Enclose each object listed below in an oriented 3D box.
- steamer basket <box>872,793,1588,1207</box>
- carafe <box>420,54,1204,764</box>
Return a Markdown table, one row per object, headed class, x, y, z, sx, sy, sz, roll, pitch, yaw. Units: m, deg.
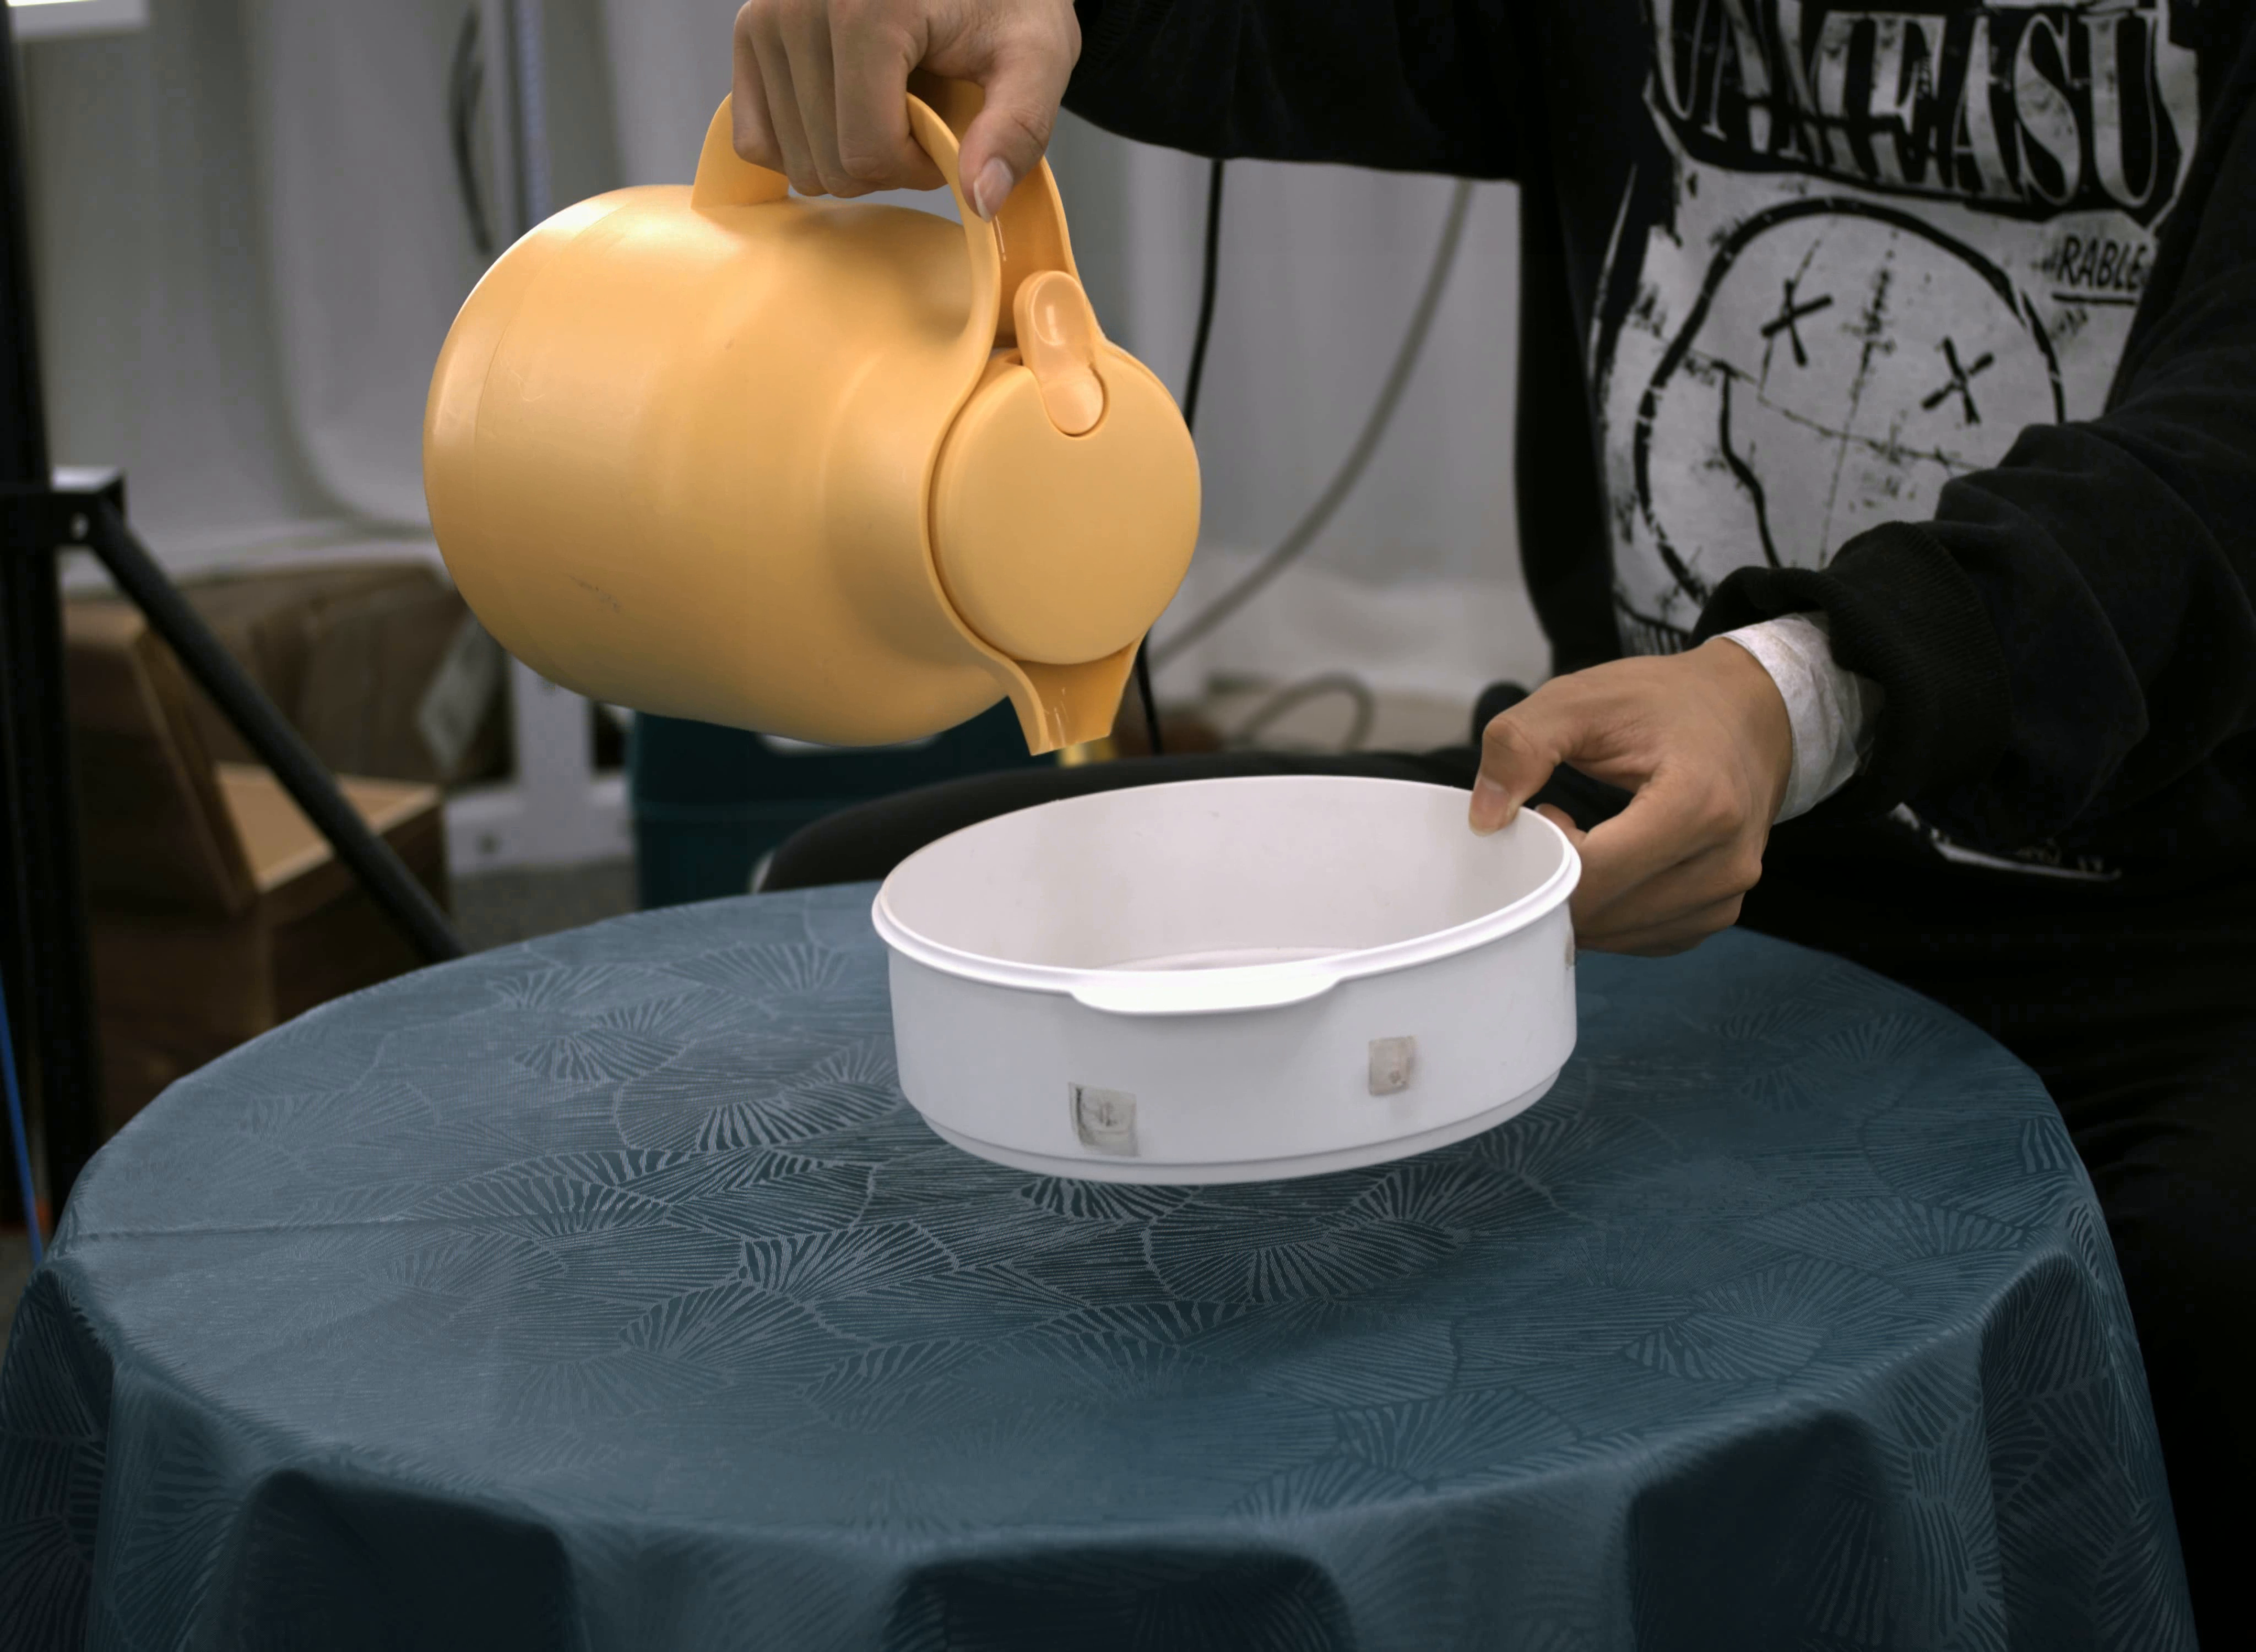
| class | x | y | z | sx | sy | sz | roll | pitch | yaw |
| --- | --- | --- | --- | --- | --- | --- | --- | --- | --- |
| steamer basket | 0.031 | 0.048 | 1.497 | 0.202 | 0.069 | 0.230 | -3 | 15 | 6 |
| carafe | -0.087 | -0.125 | 1.575 | 0.159 | 0.202 | 0.266 | -12 | 16 | -36 |
